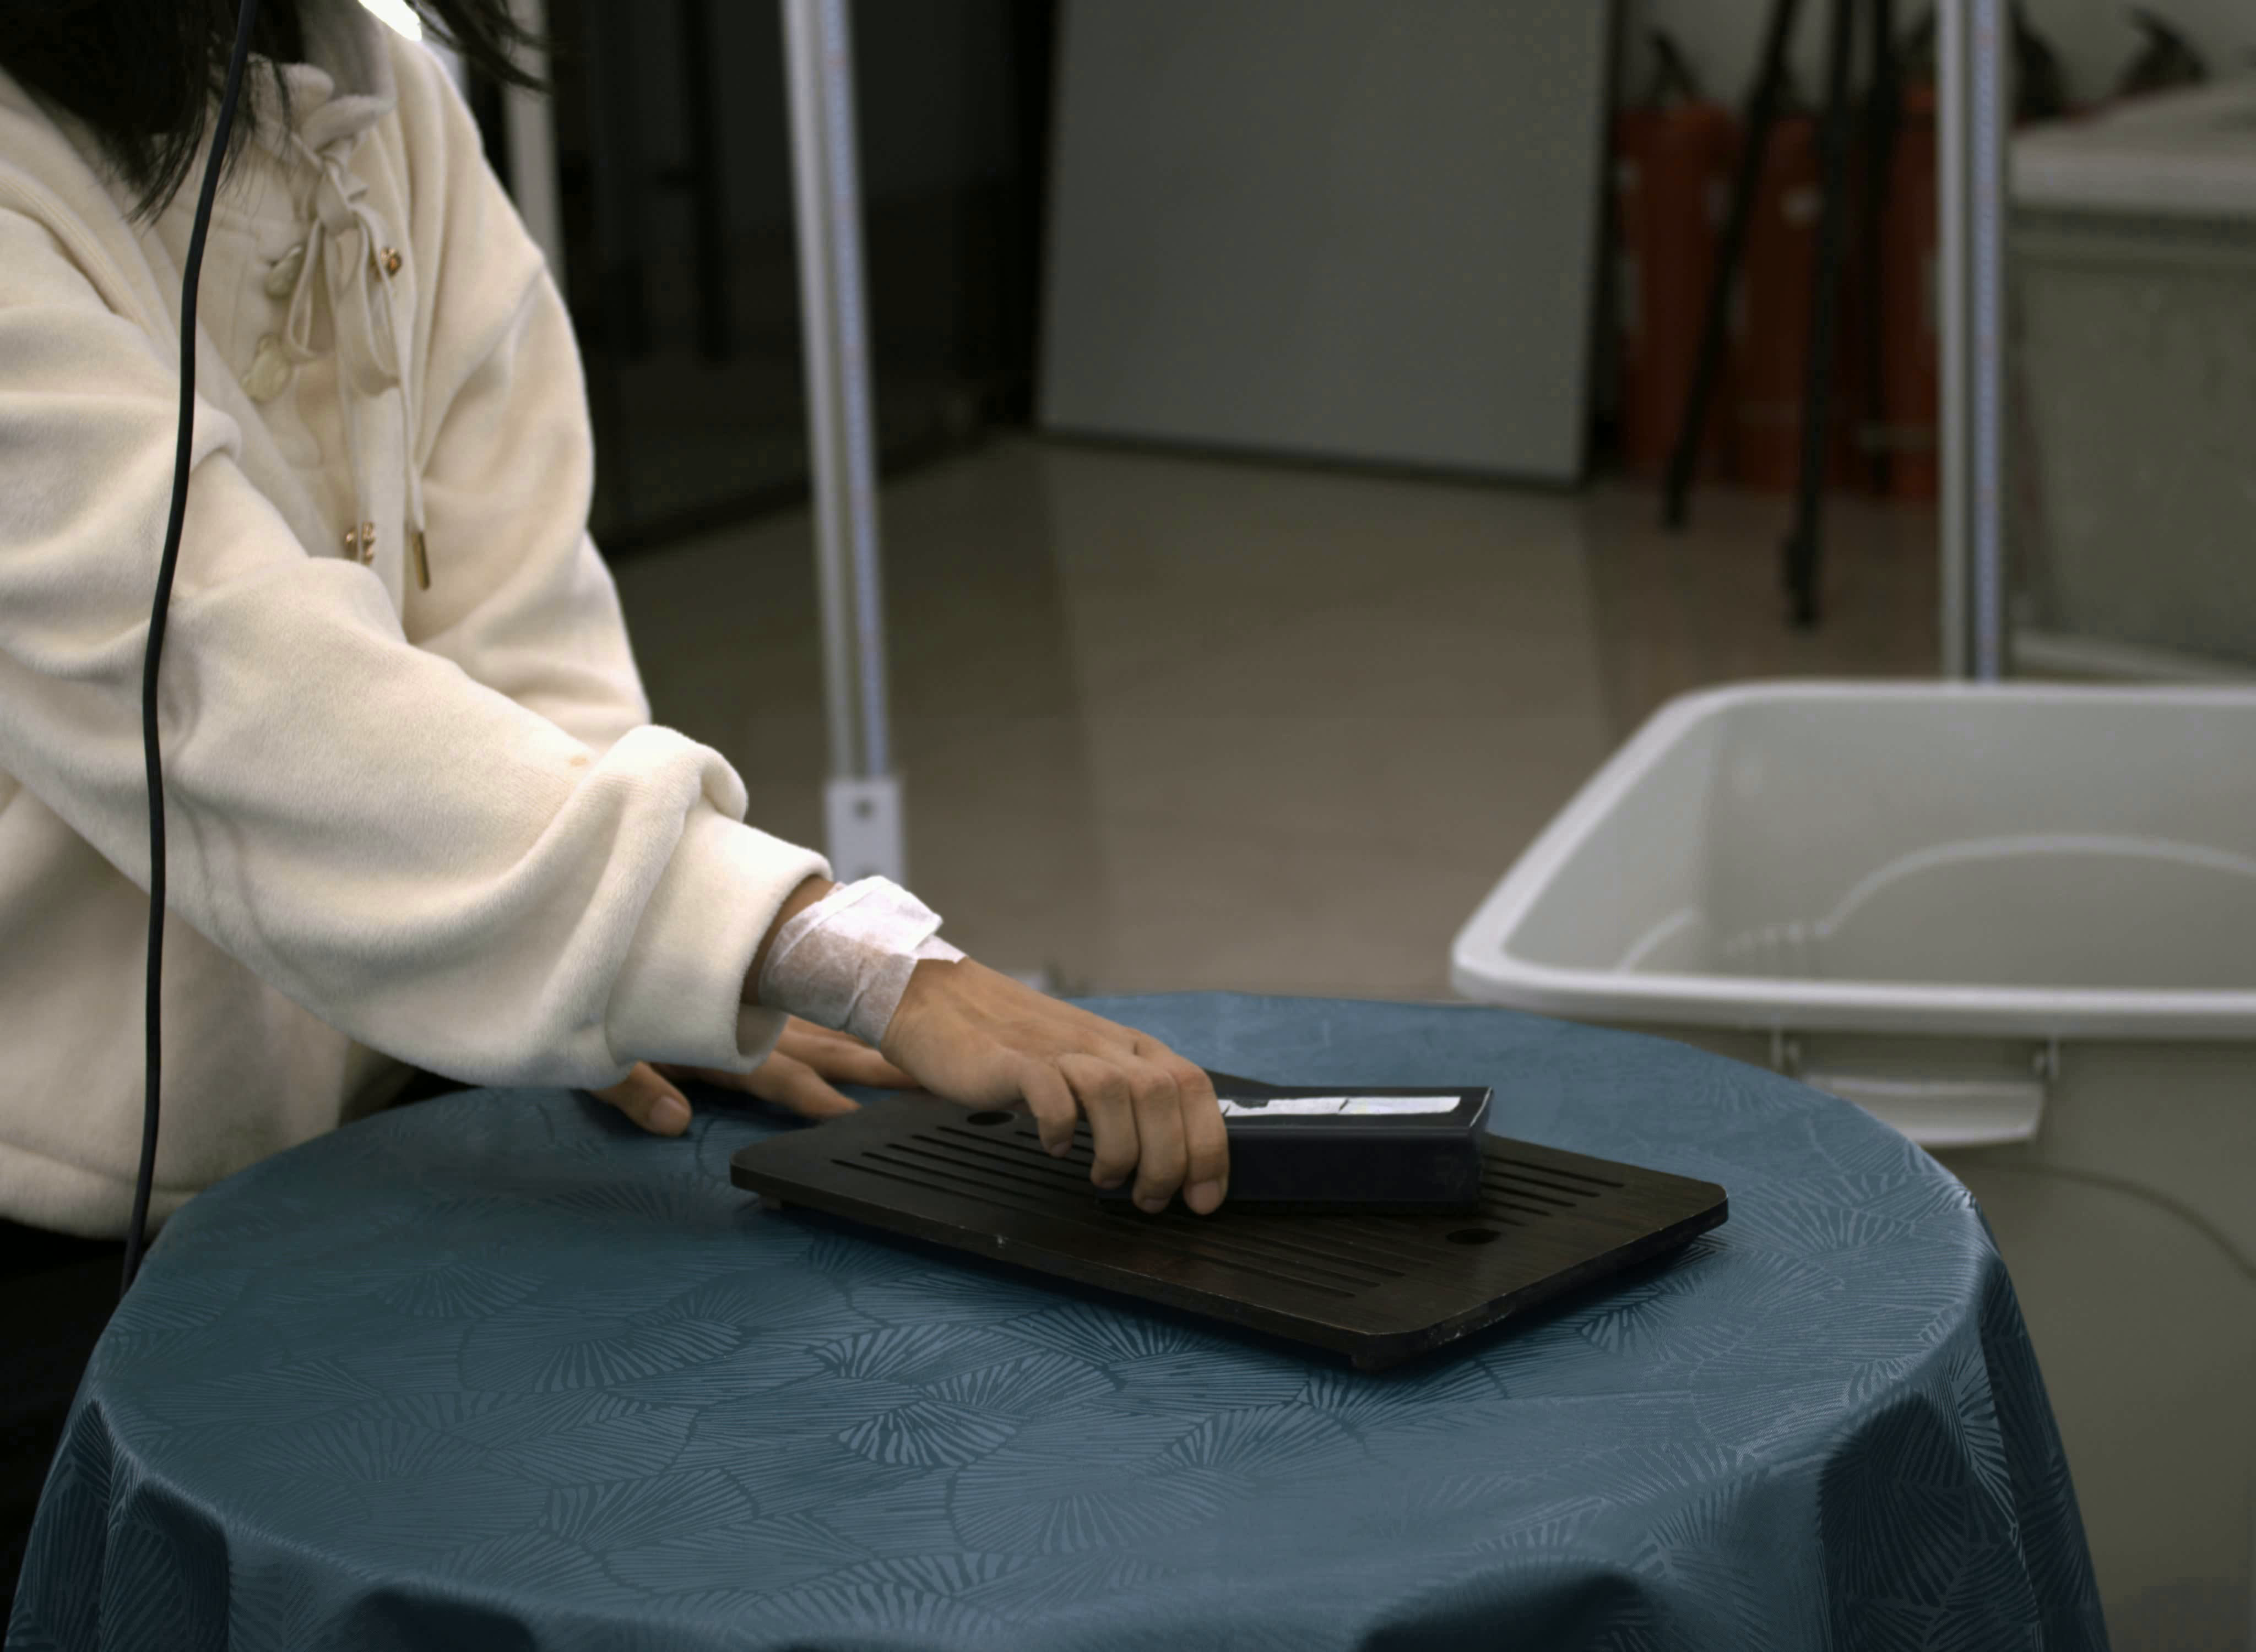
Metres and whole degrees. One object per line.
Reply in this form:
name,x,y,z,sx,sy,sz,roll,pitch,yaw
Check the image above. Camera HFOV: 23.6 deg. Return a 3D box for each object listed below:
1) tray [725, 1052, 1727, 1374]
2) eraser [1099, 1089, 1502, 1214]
tray,0.027,0.121,1.725,0.166,0.019,0.309,-17,19,-42
eraser,0.056,0.102,1.703,0.125,0.031,0.053,-2,10,14
